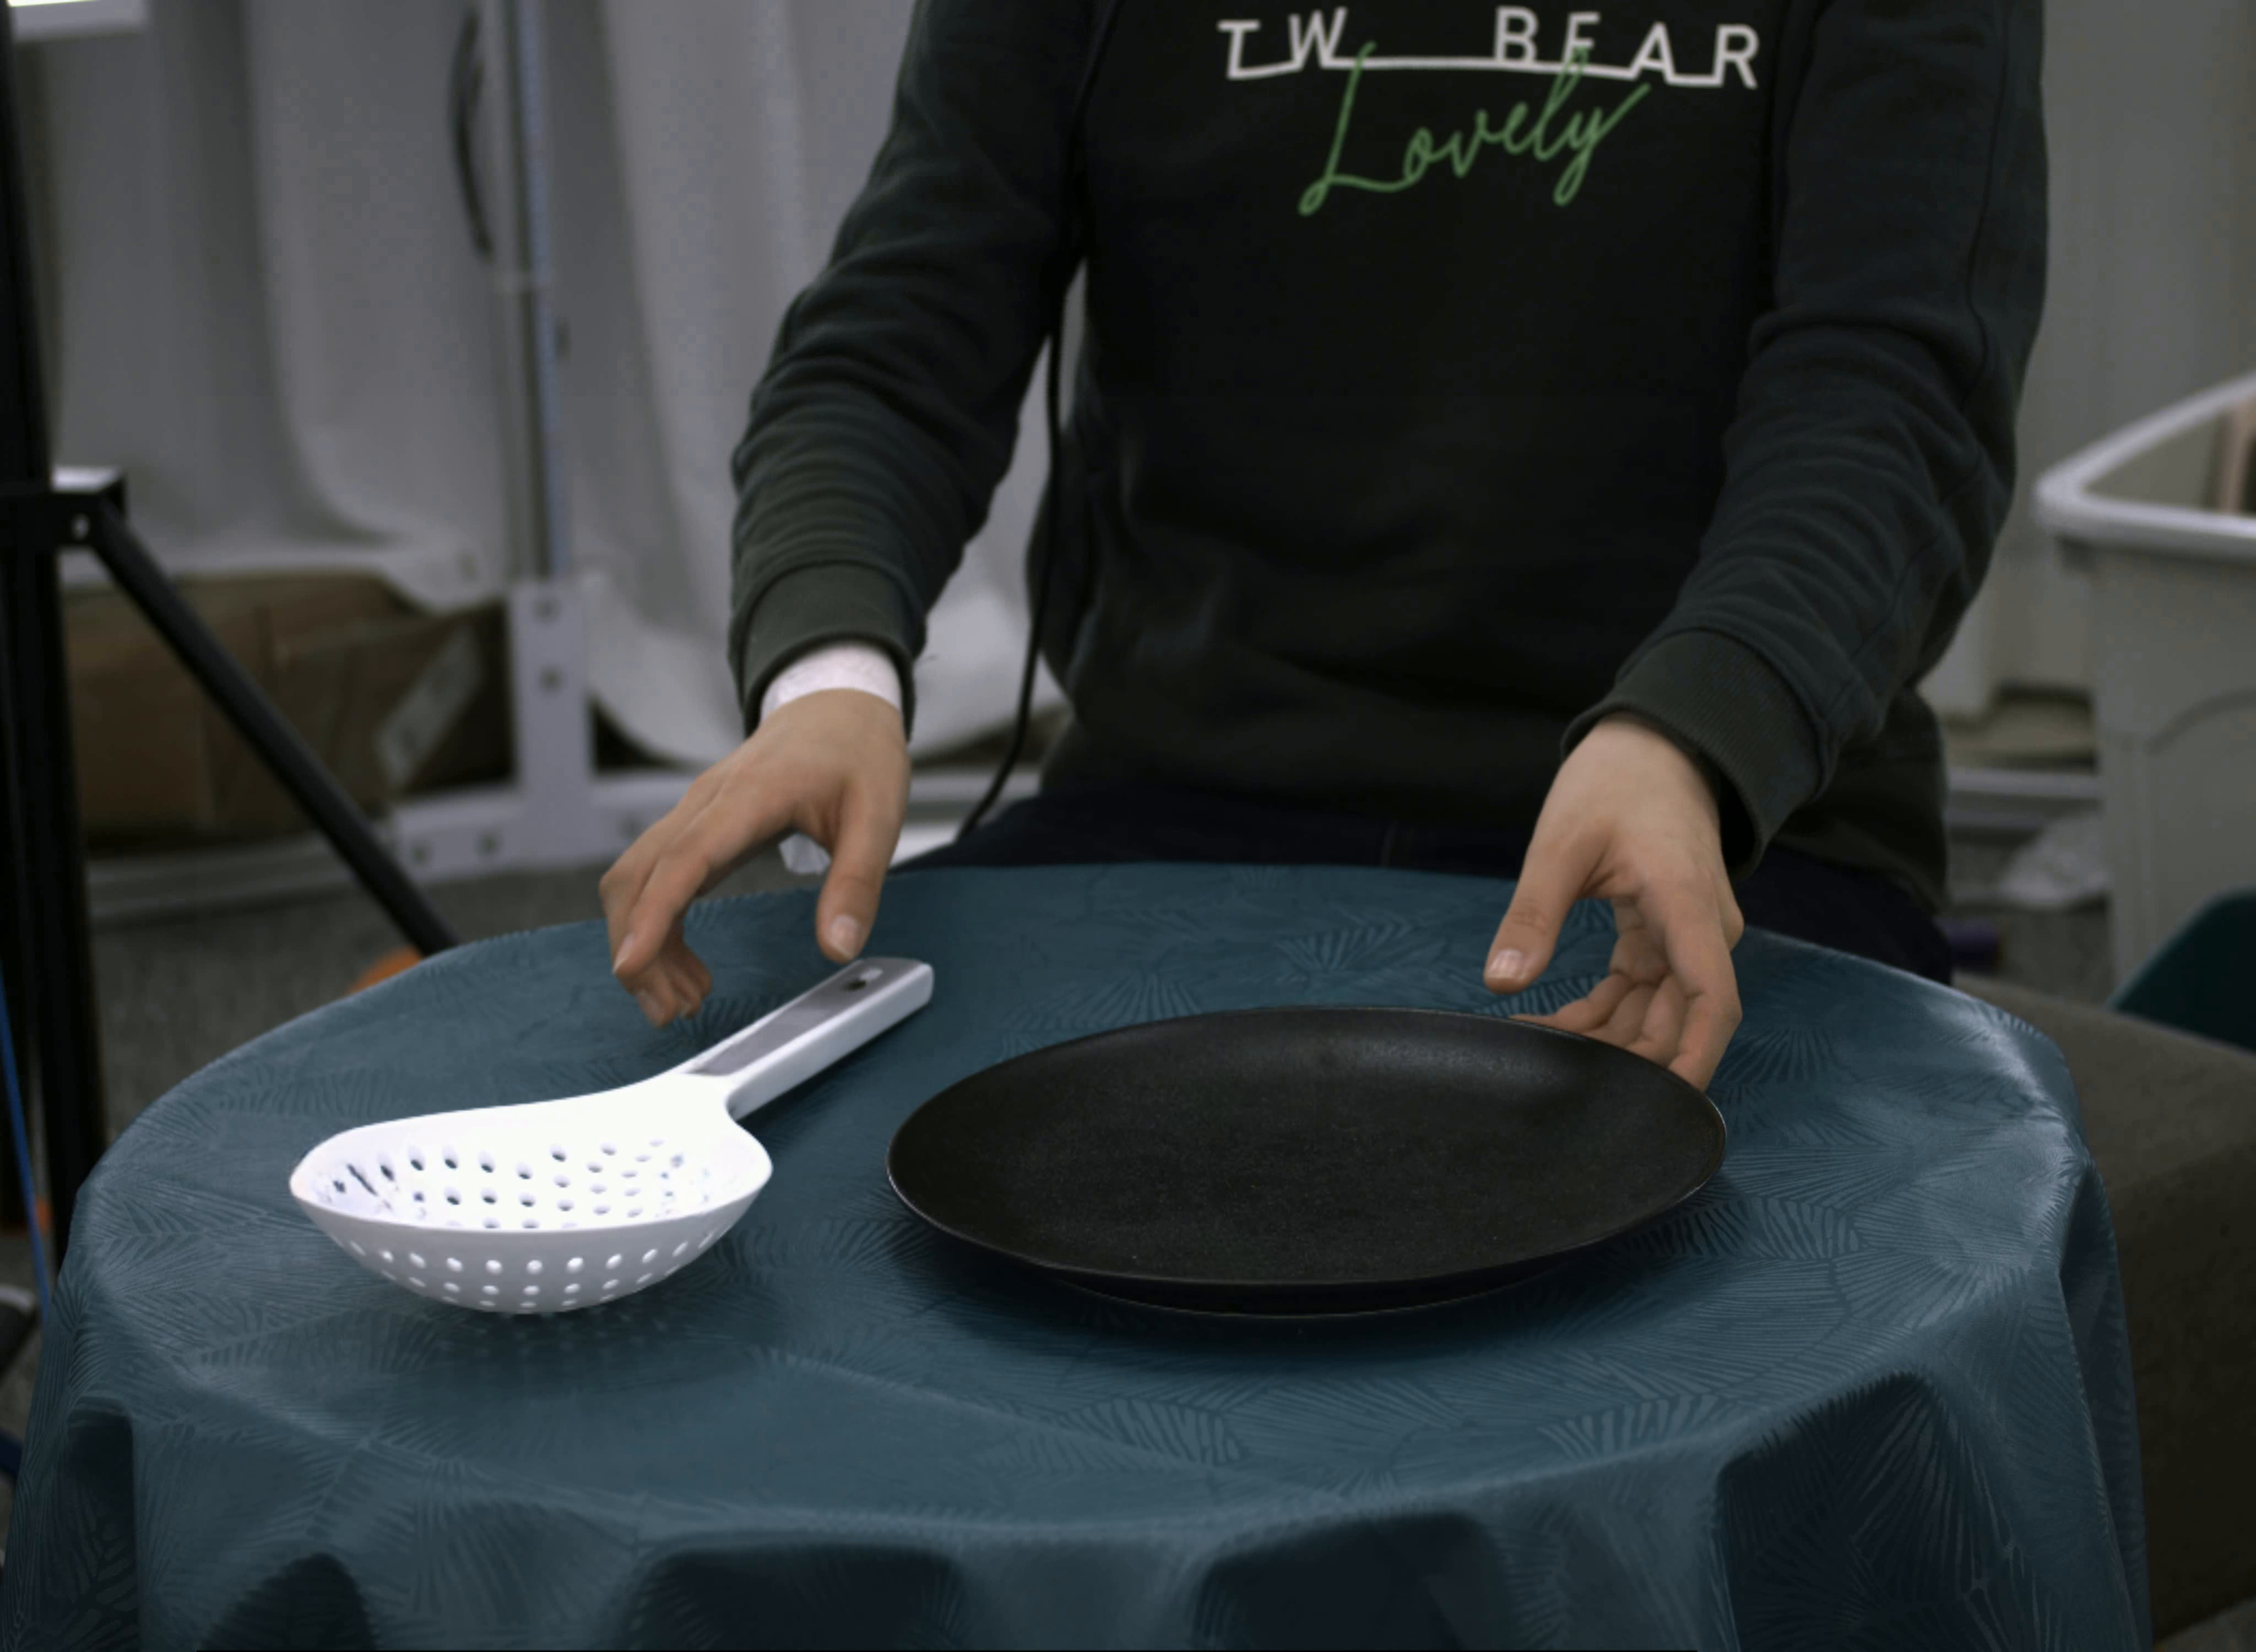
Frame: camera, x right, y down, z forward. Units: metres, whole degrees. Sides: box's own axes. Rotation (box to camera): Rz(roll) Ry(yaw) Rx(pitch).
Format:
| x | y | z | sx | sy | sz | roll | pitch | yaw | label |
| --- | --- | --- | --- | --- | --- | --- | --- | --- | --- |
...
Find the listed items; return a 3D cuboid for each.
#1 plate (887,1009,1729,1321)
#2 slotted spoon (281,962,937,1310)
| x | y | z | sx | sy | sz | roll | pitch | yaw | label |
| --- | --- | --- | --- | --- | --- | --- | --- | --- | --- |
| 0.052 | 0.100 | 1.534 | 0.243 | 0.023 | 0.245 | -3 | 16 | -1 | plate |
| -0.132 | 0.083 | 1.586 | 0.137 | 0.046 | 0.345 | 5 | 17 | 19 | slotted spoon |
